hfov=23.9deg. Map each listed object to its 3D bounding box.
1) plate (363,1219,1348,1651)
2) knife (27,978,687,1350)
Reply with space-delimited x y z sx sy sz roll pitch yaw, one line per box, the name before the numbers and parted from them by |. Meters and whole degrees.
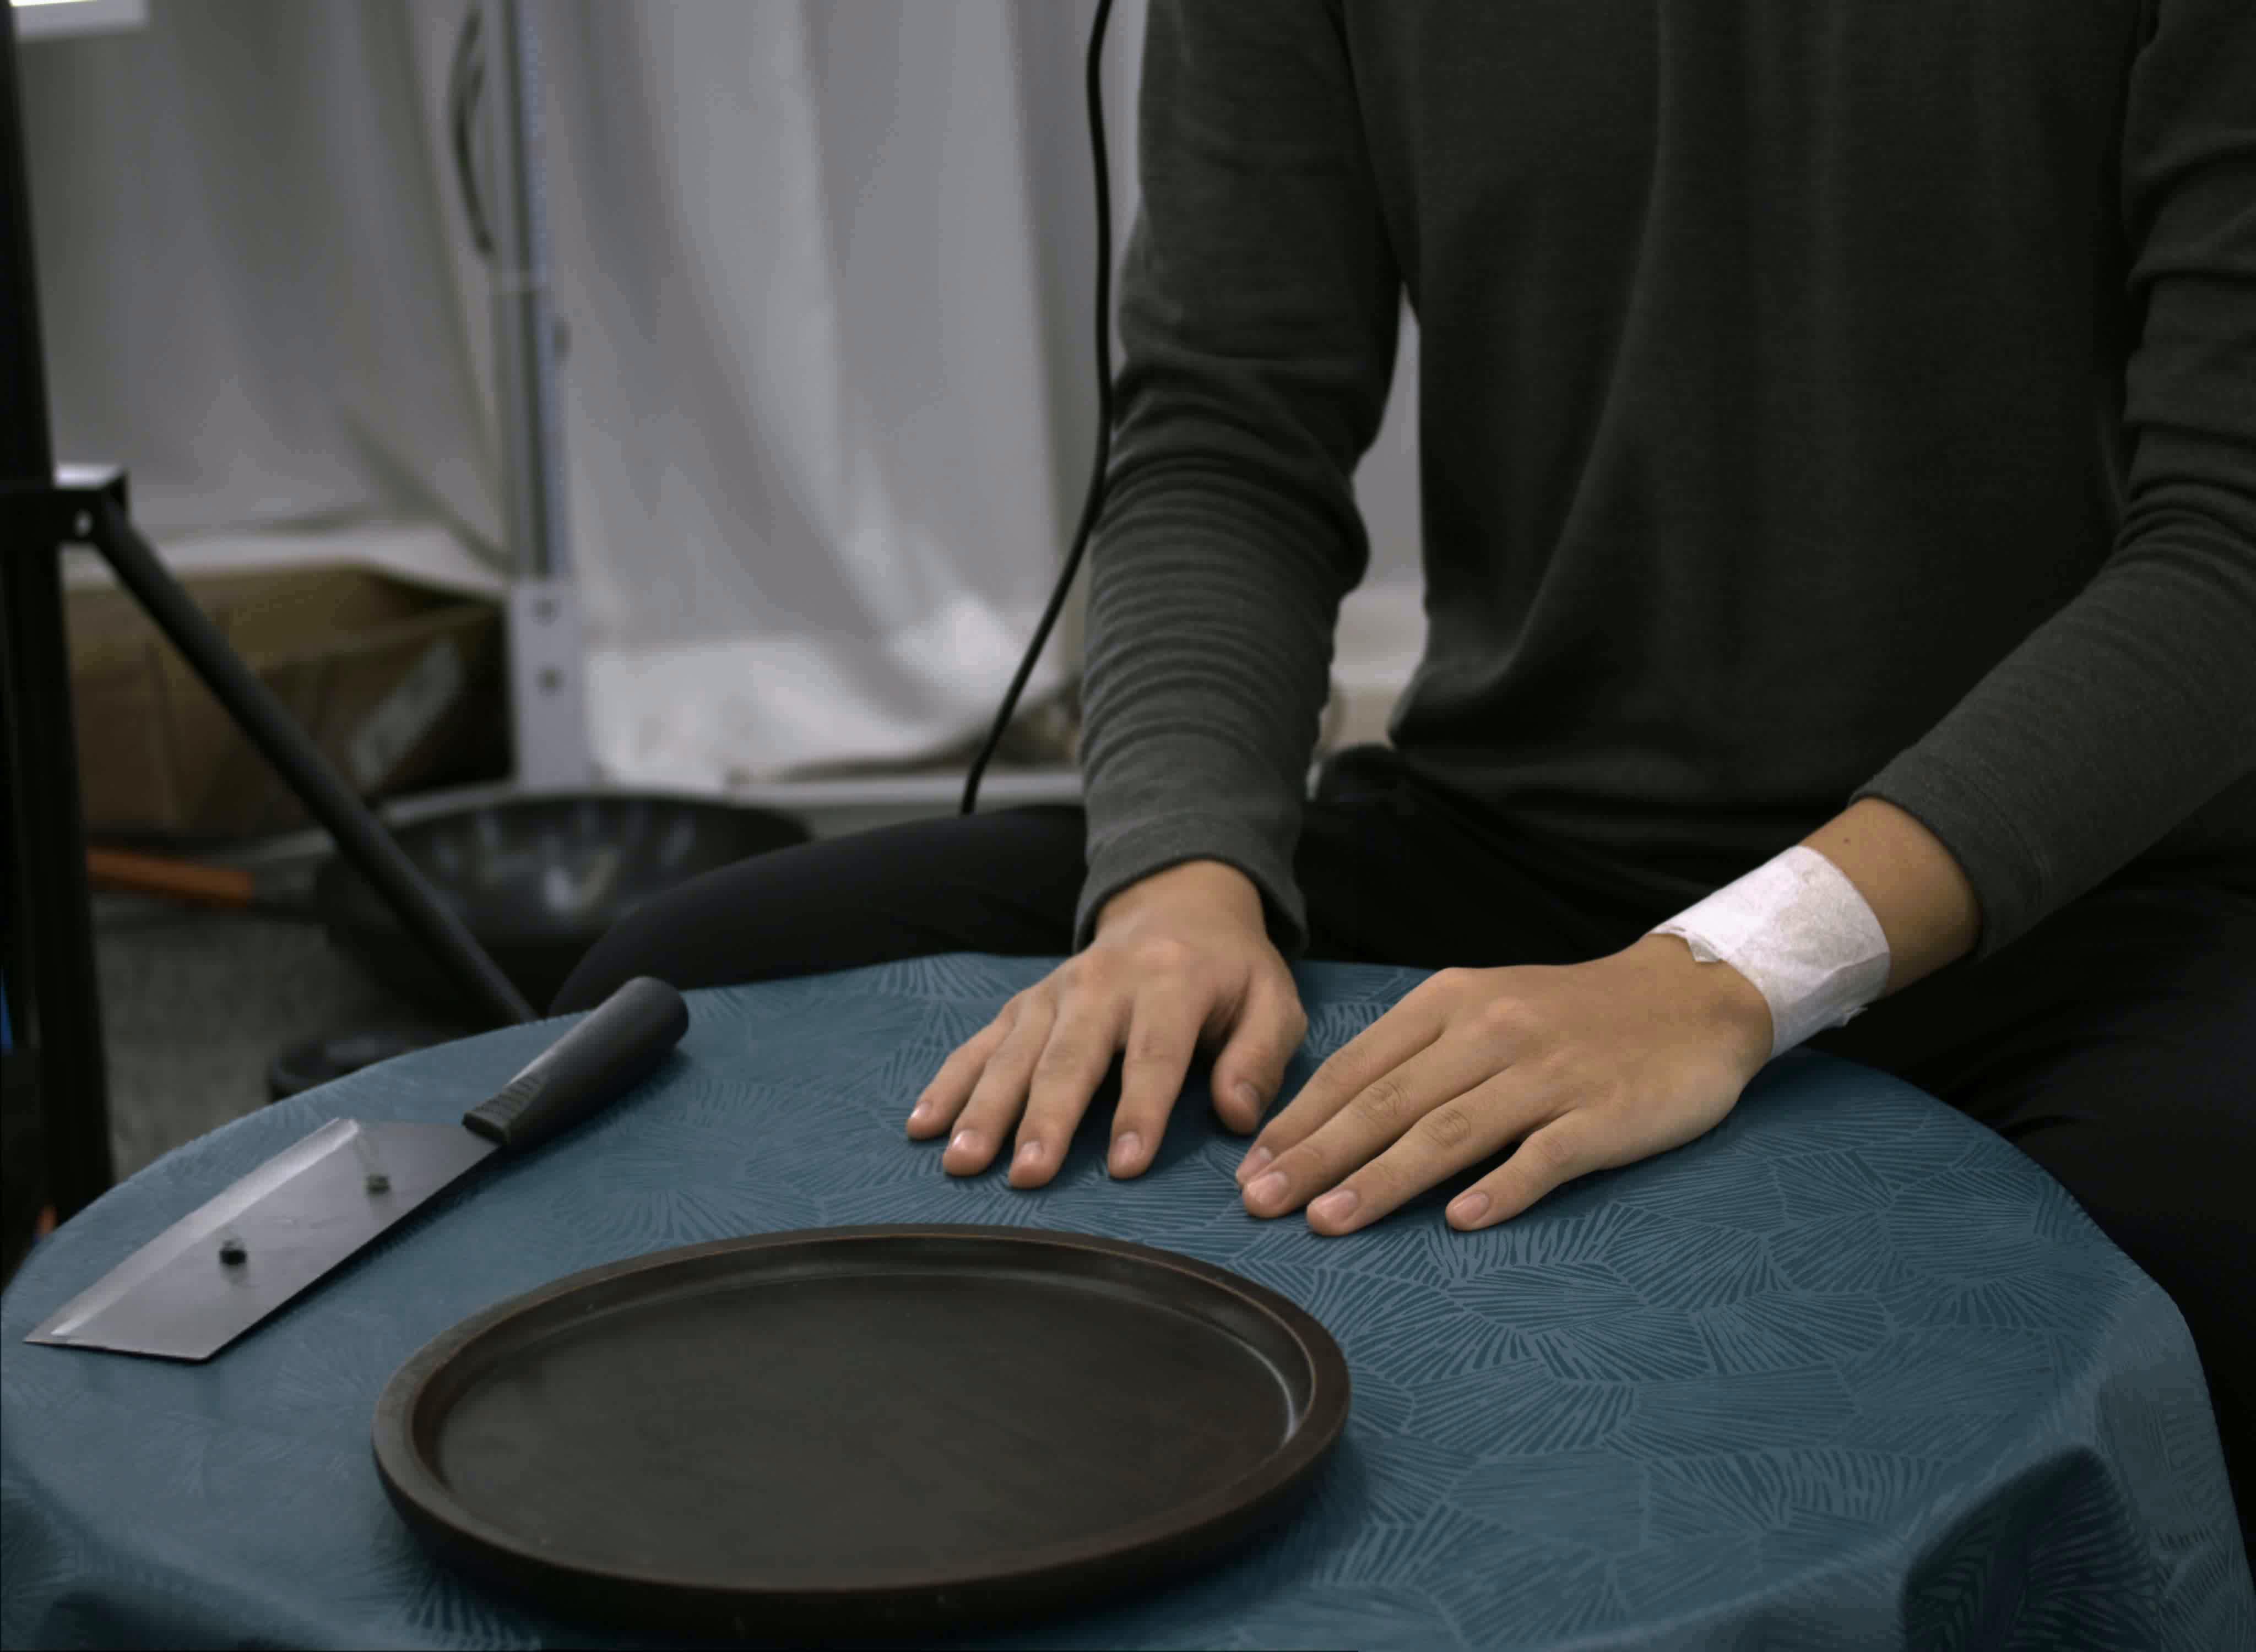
plate | -0.069 0.154 1.367 0.253 0.029 0.256 -4 15 0
knife | -0.220 0.100 1.600 0.082 0.021 0.297 5 19 28
